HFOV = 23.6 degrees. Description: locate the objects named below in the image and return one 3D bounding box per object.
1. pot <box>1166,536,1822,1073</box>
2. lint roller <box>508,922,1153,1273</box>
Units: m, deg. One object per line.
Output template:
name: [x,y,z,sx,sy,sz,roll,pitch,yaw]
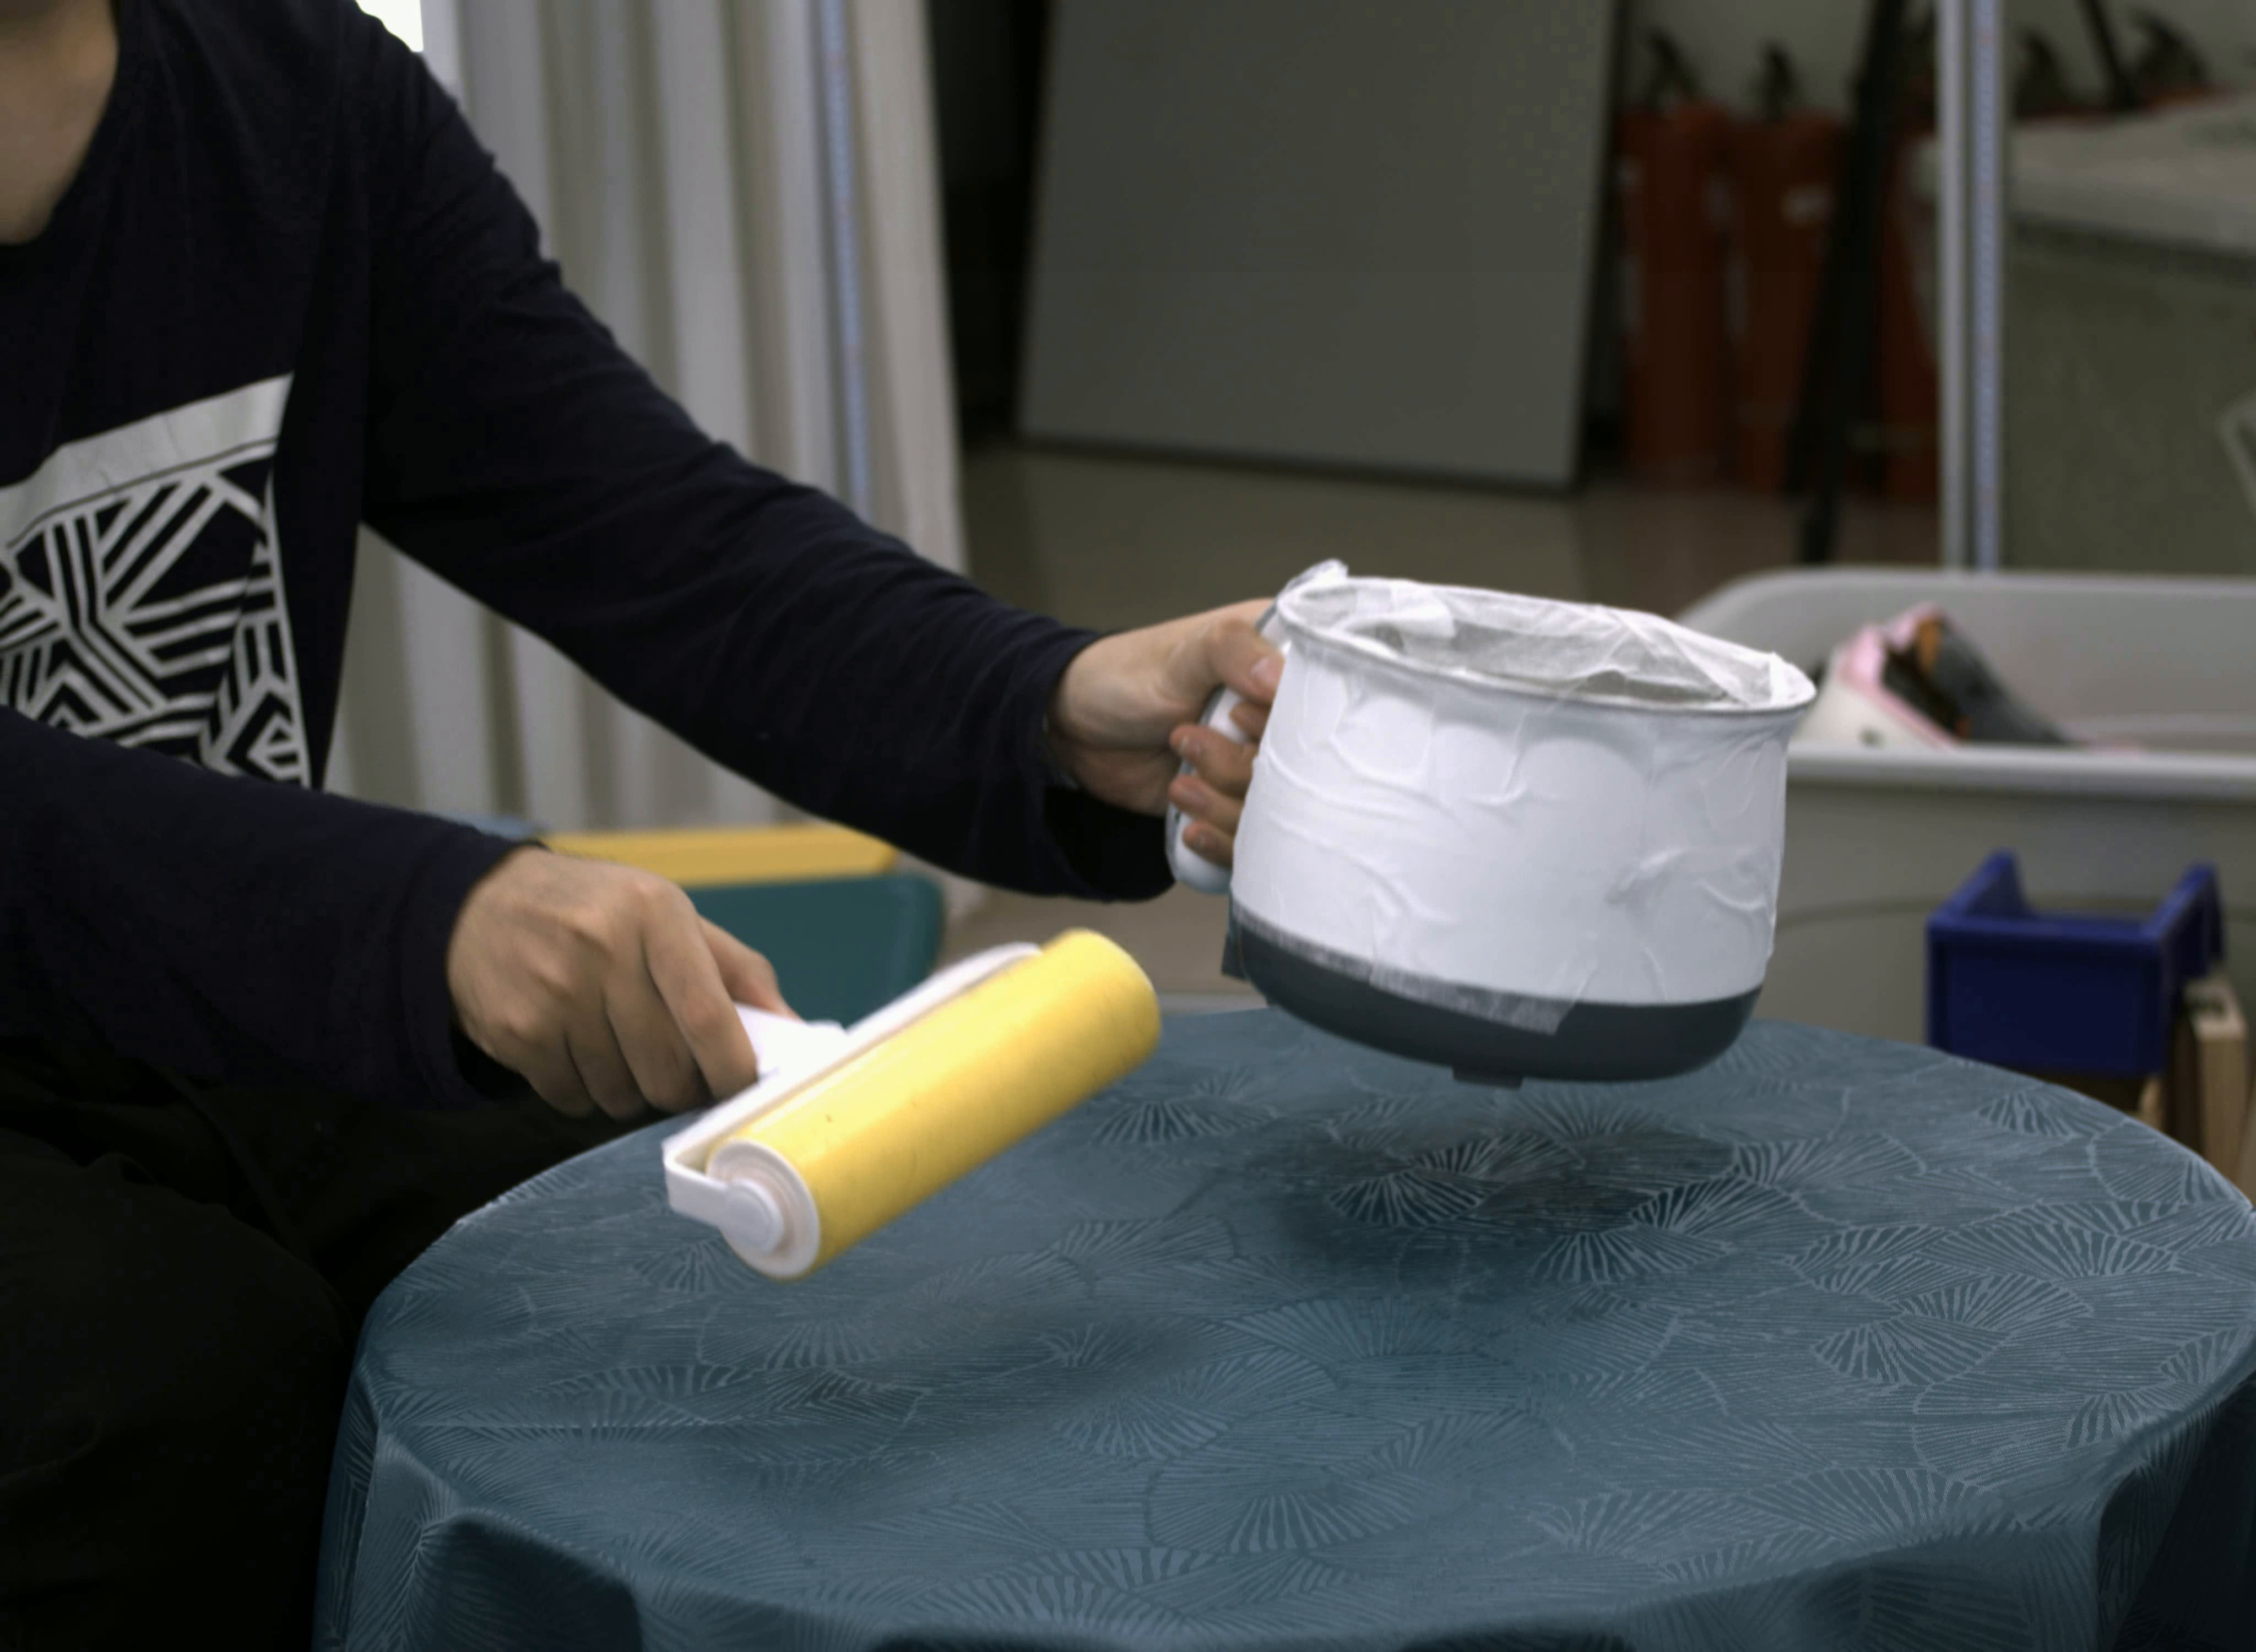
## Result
pot: [0.106,-0.011,1.758,0.175,0.138,0.236,0,15,-45]
lint roller: [-0.115,0.058,1.653,0.193,0.052,0.171,22,35,31]
